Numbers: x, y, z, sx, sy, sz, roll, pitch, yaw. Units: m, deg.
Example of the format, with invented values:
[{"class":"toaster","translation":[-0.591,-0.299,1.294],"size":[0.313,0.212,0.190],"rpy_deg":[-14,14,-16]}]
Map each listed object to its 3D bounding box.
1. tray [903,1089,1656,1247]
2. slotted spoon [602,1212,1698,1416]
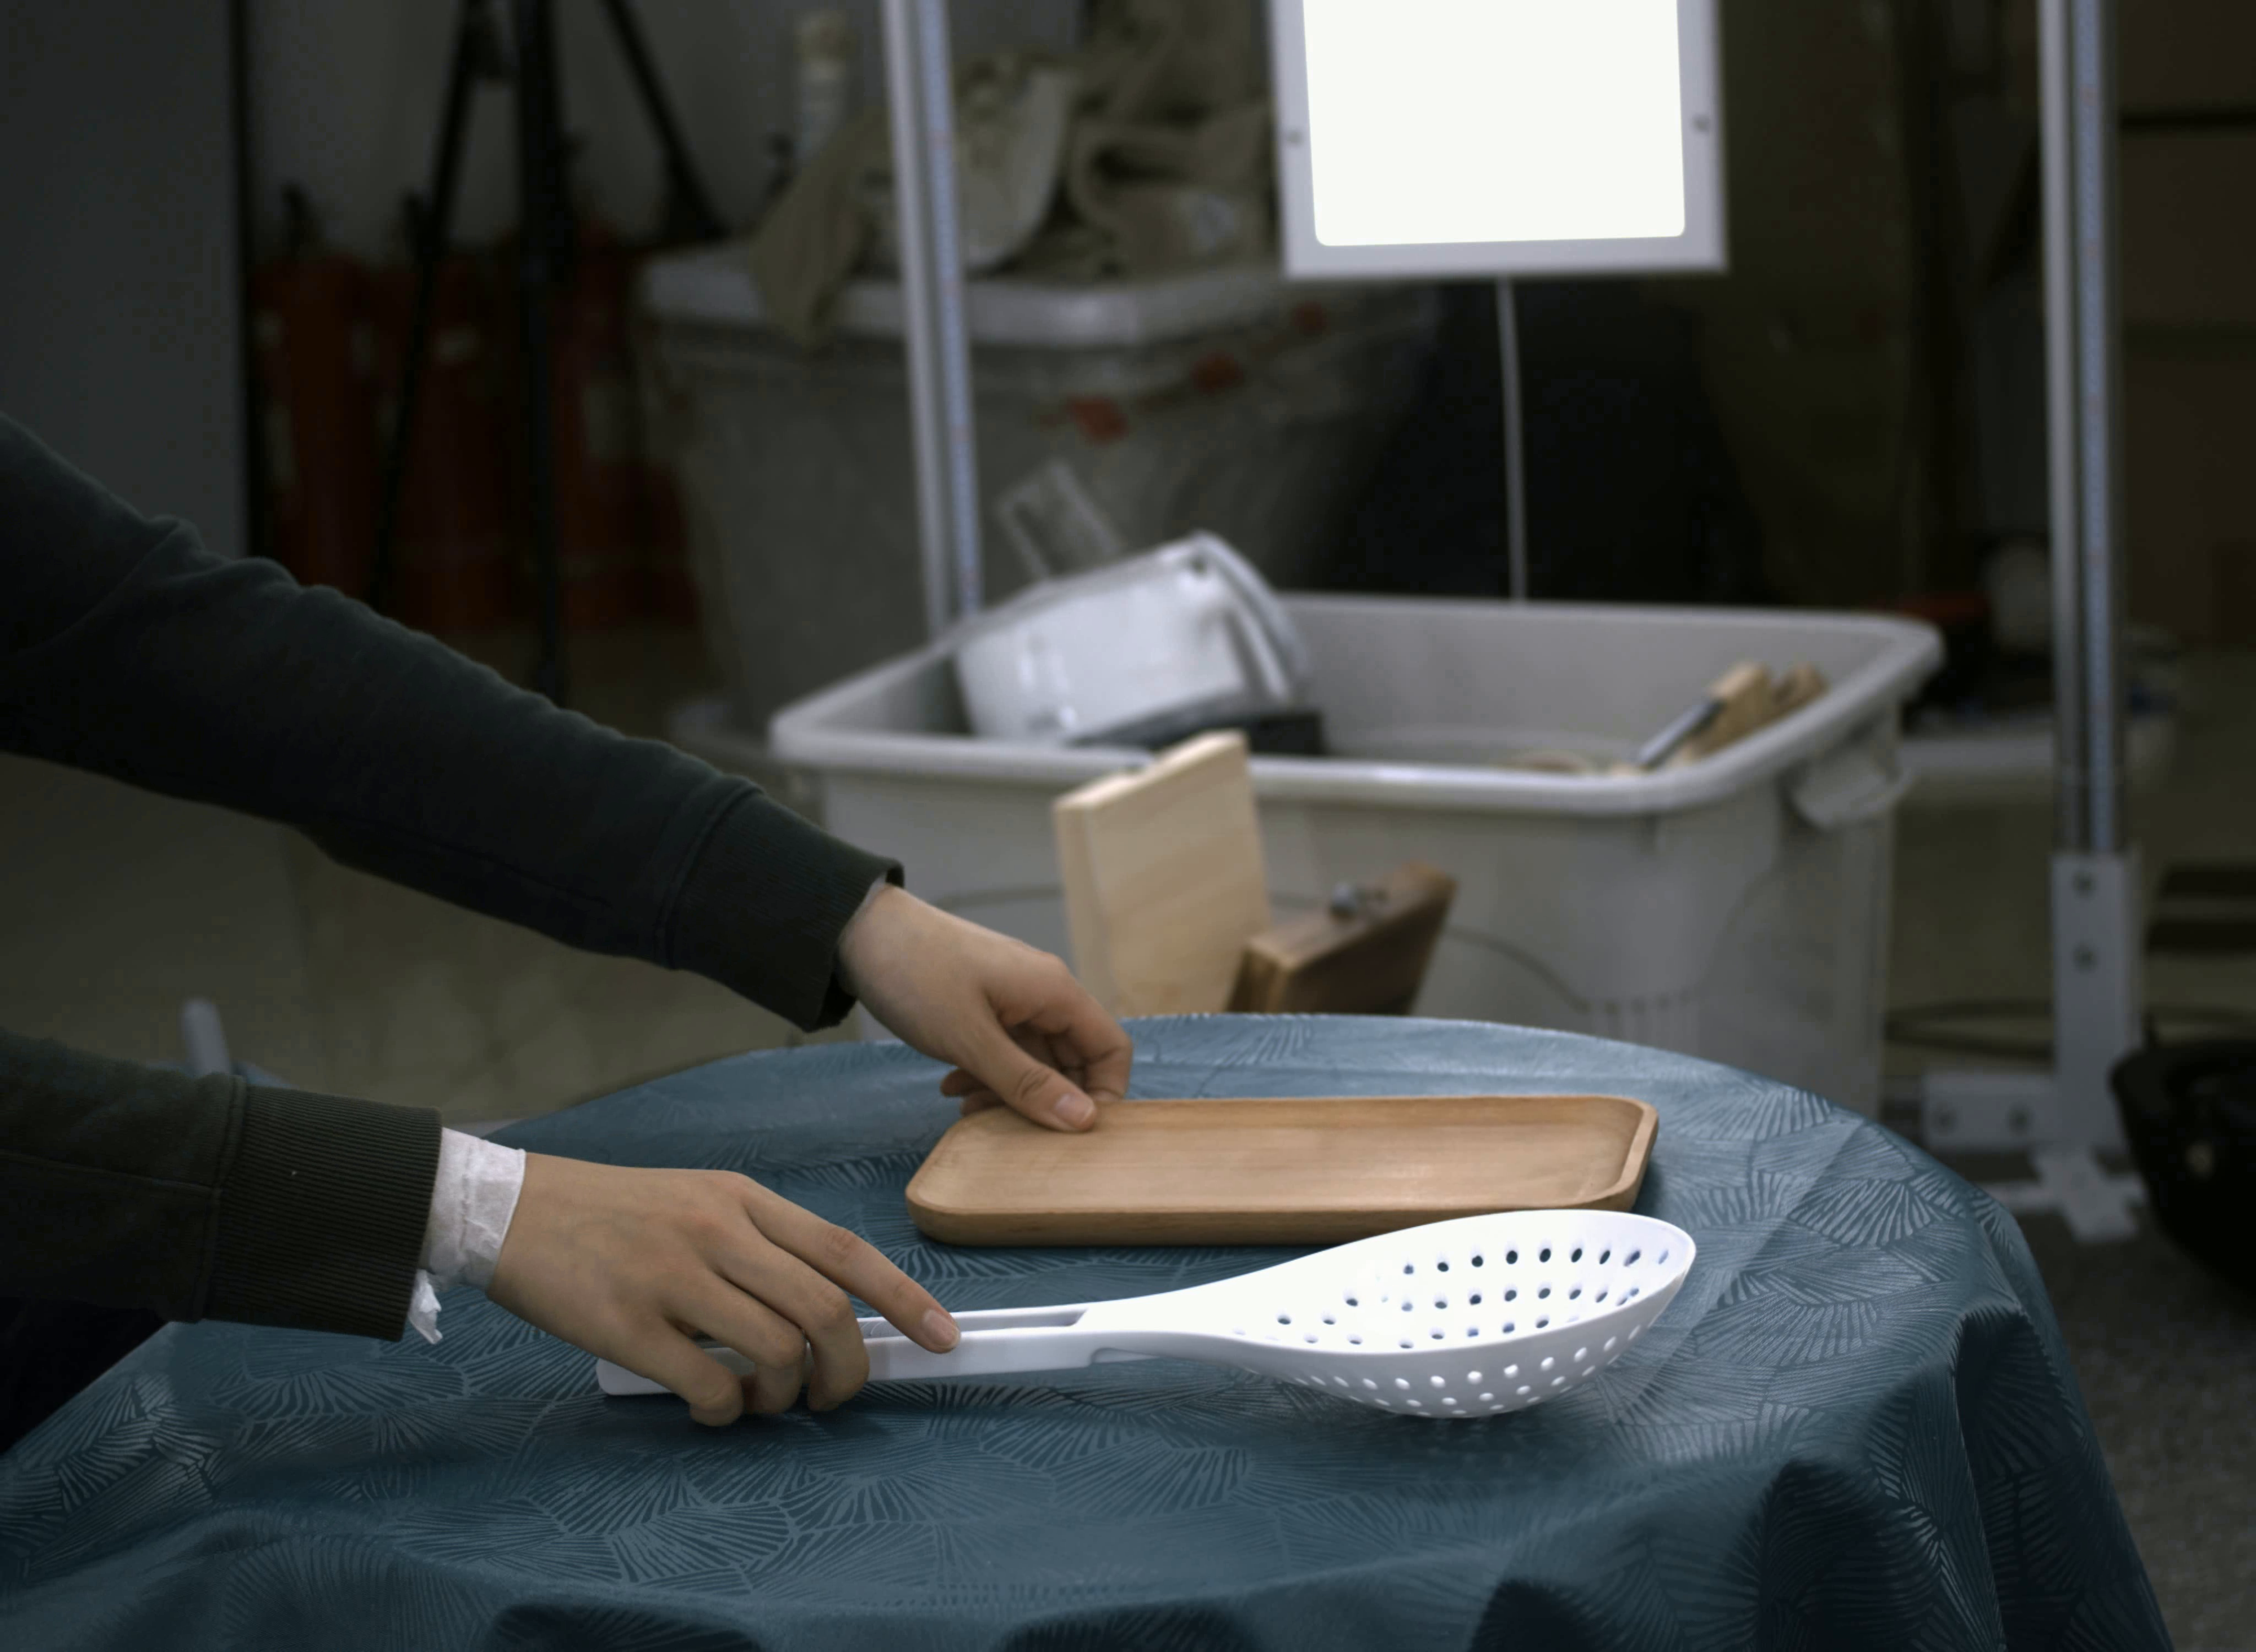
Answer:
[{"class":"tray","translation":[0.053,0.117,1.881],"size":[0.253,0.023,0.129],"rpy_deg":[-2,12,14]},{"class":"slotted spoon","translation":[0.003,0.154,1.690],"size":[0.354,0.046,0.134],"rpy_deg":[-1,12,18]}]
